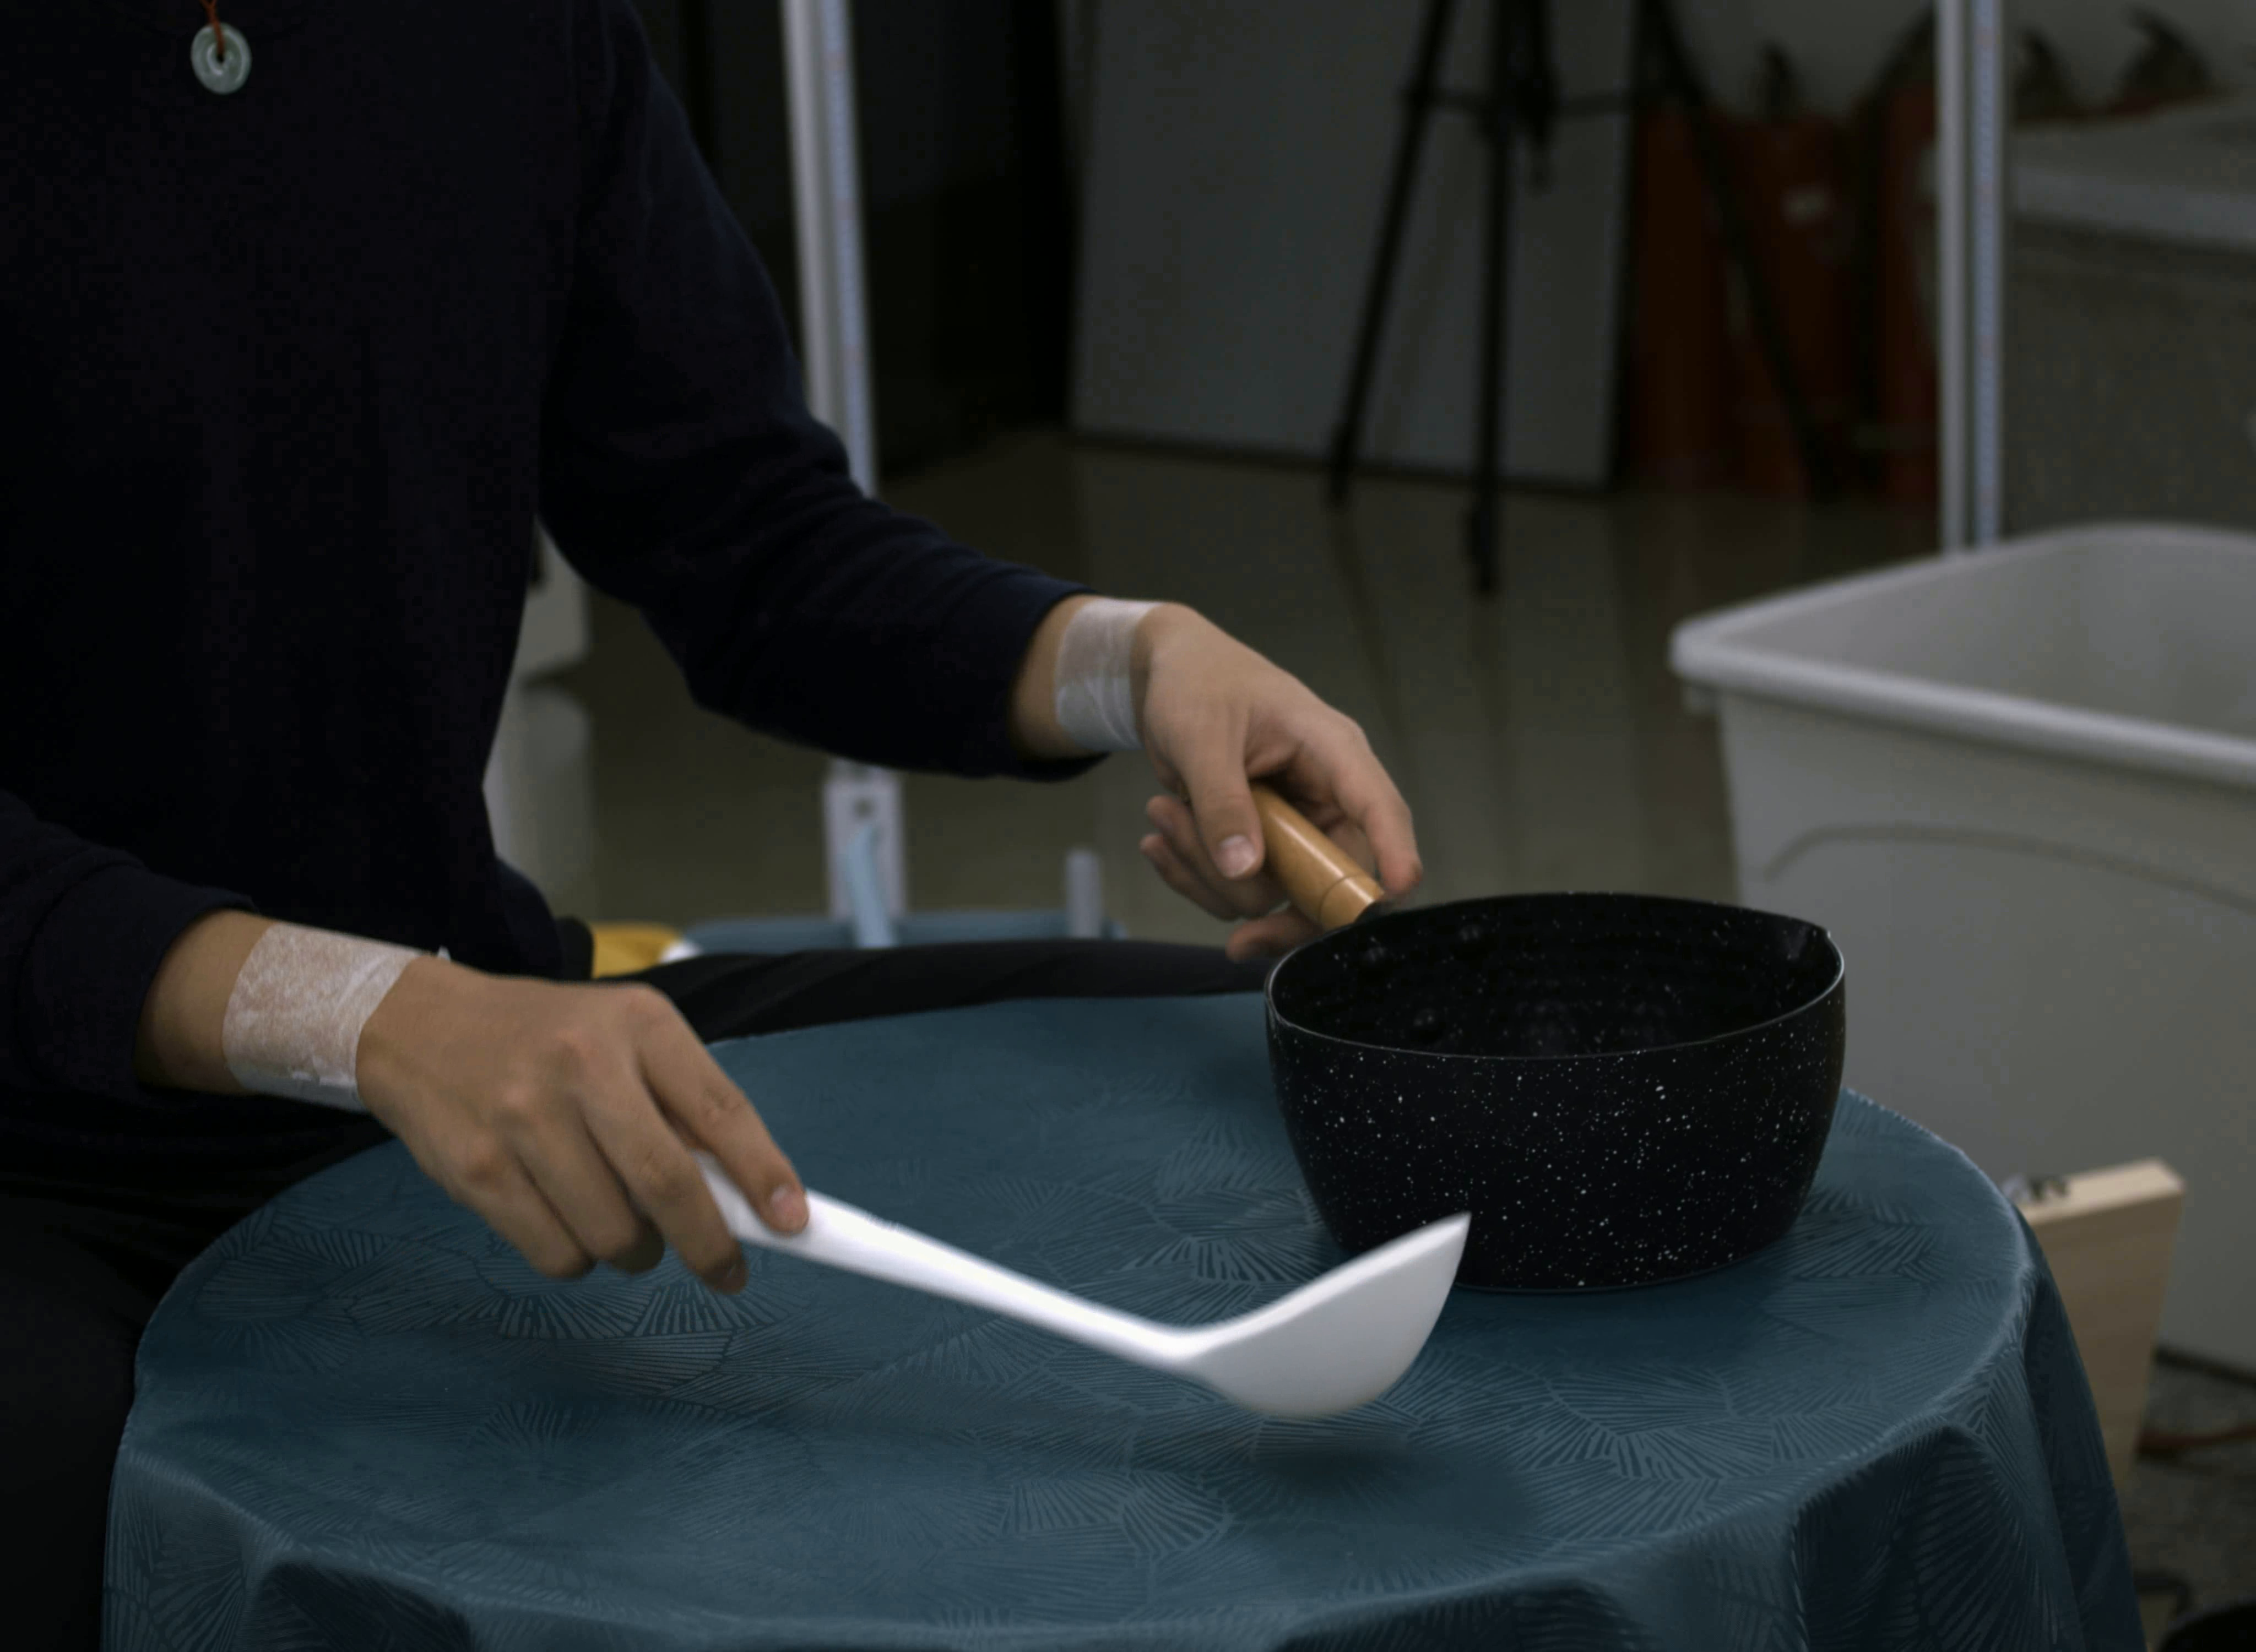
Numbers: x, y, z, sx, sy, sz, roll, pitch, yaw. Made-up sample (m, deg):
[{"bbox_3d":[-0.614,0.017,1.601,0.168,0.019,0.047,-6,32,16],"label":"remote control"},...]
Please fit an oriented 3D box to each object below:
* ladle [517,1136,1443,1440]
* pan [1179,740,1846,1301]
[{"bbox_3d":[-0.048,0.119,1.553,0.294,0.071,0.089,12,22,27],"label":"ladle"},{"bbox_3d":[0.100,0.058,1.770,0.203,0.109,0.346,-11,17,-24],"label":"pan"}]
